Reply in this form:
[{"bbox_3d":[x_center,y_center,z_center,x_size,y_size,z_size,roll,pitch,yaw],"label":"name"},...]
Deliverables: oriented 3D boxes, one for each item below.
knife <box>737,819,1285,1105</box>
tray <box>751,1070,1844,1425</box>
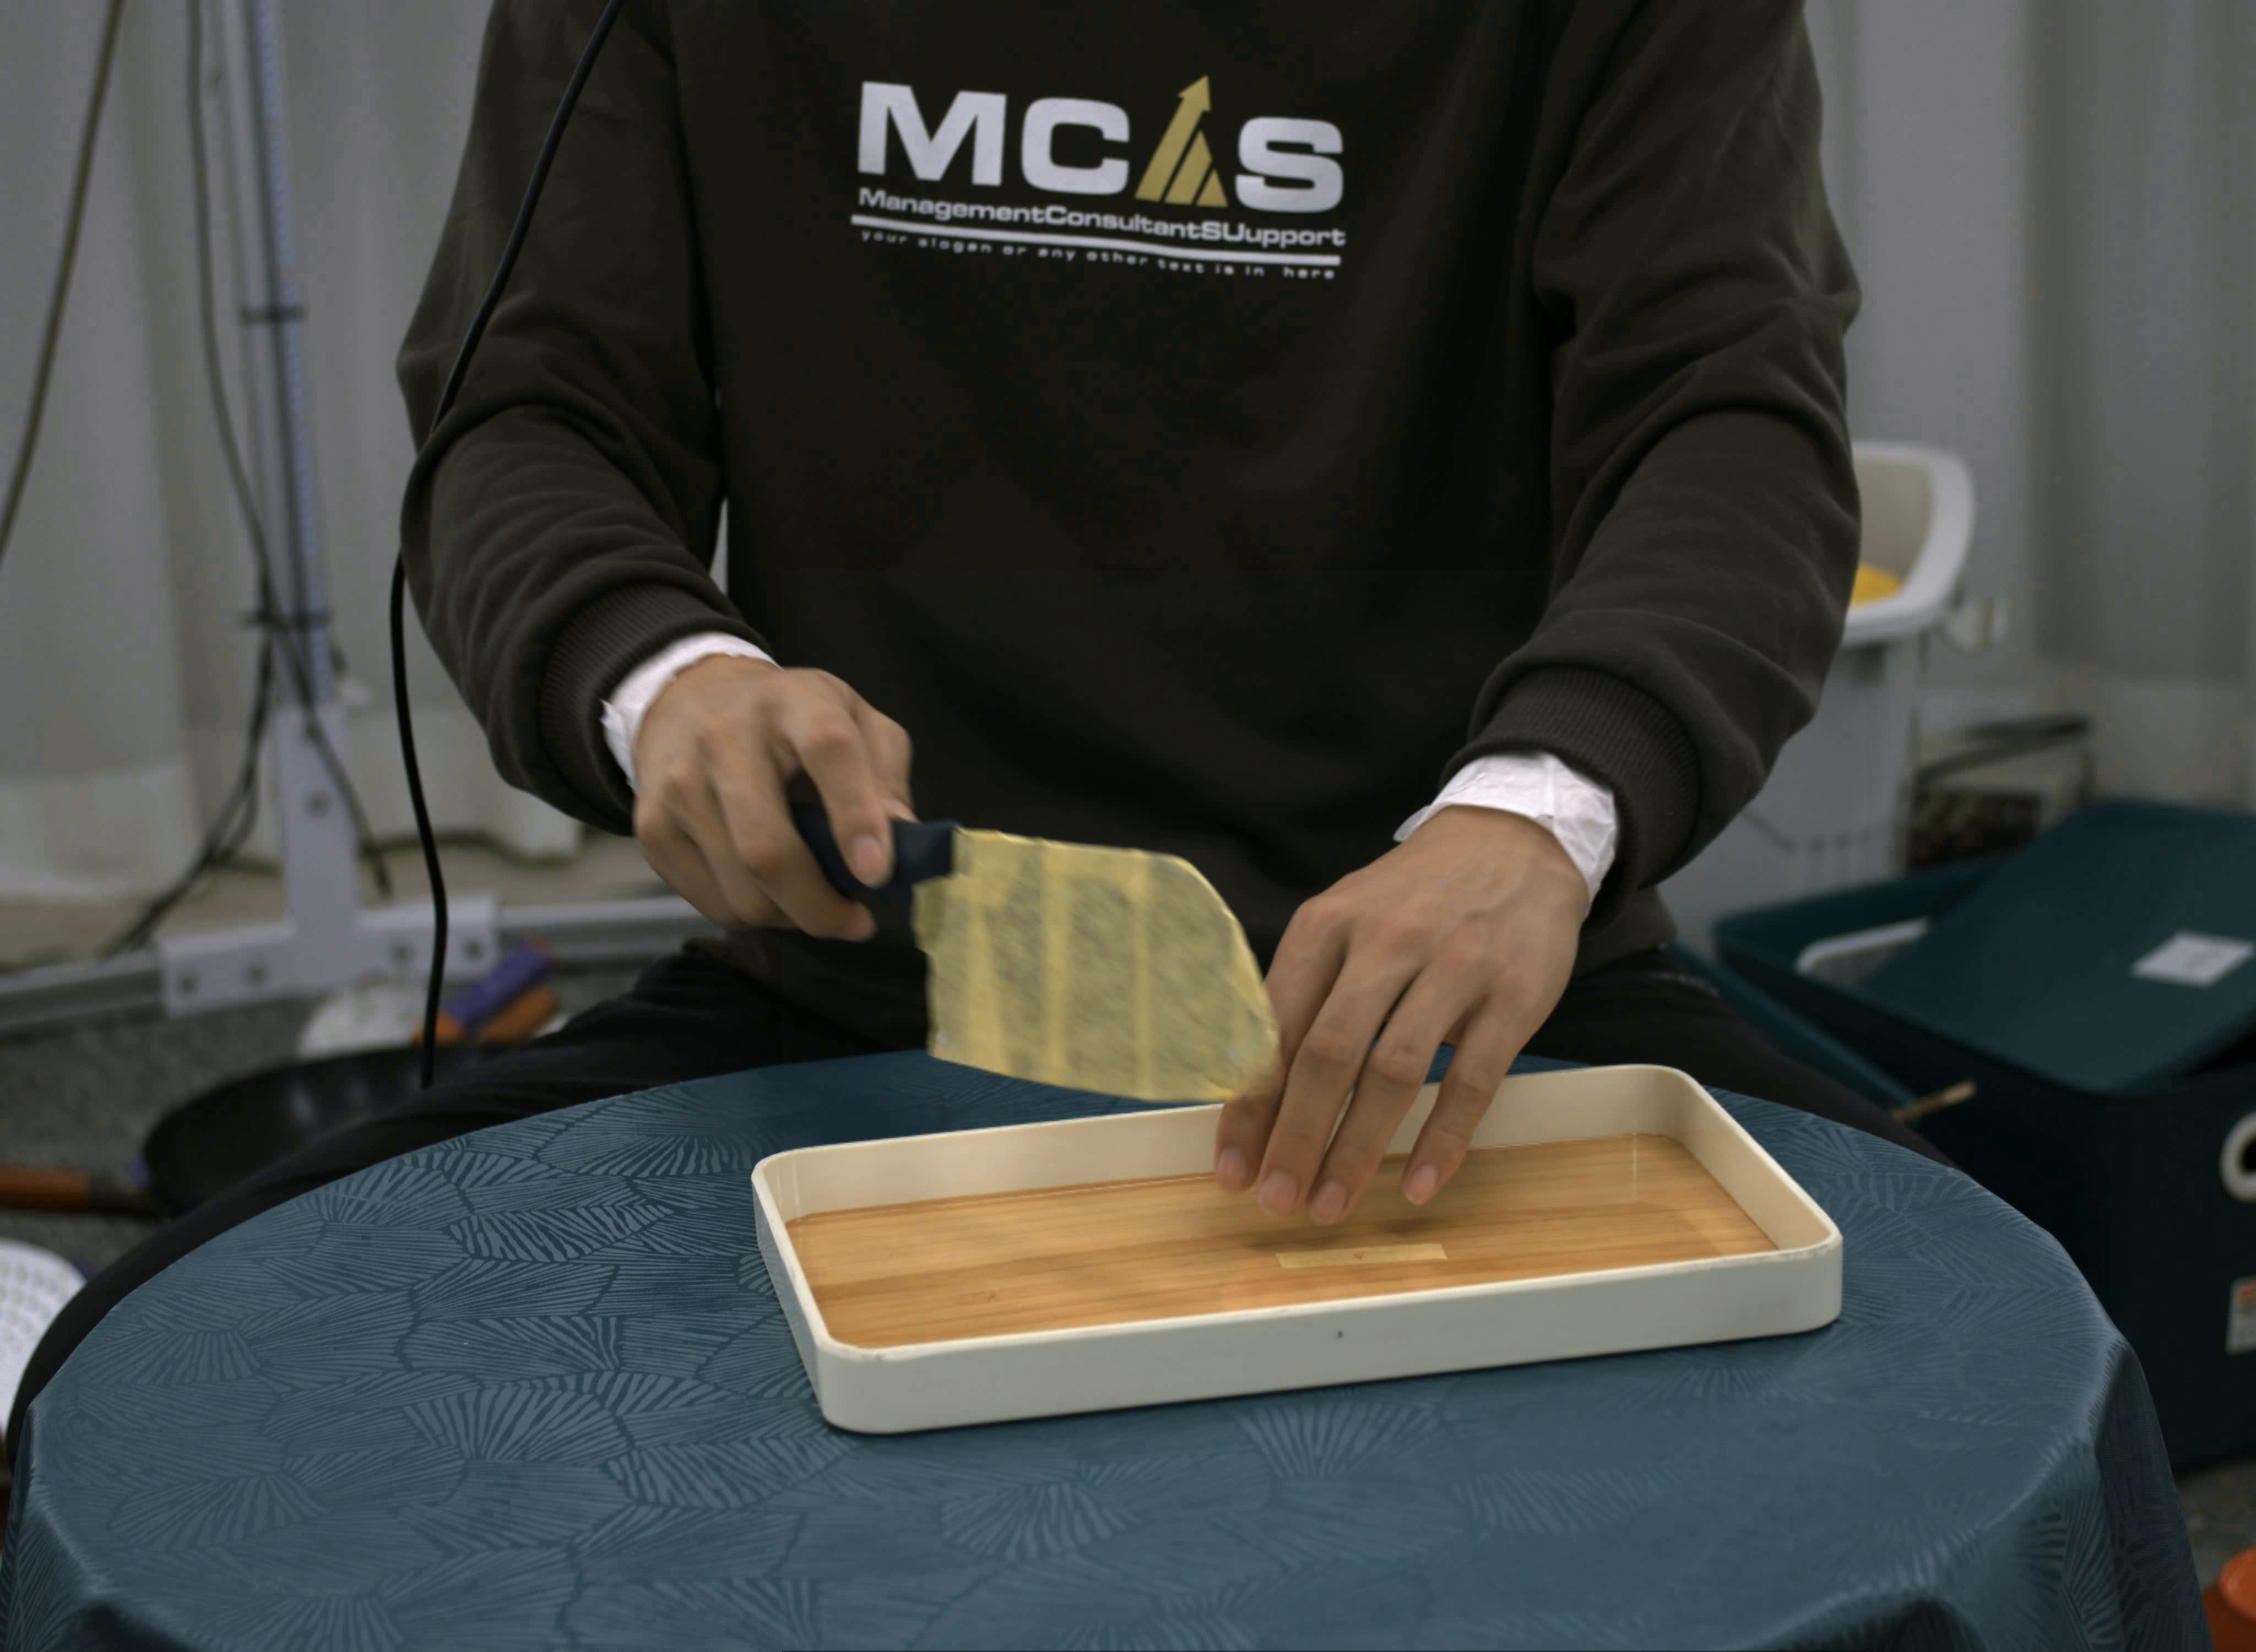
[{"bbox_3d":[-0.038,0.038,1.648,0.027,0.081,0.291,-3,9,-34],"label":"knife"},{"bbox_3d":[0.045,0.123,1.627,0.299,0.027,0.193,-5,14,-9],"label":"tray"}]
